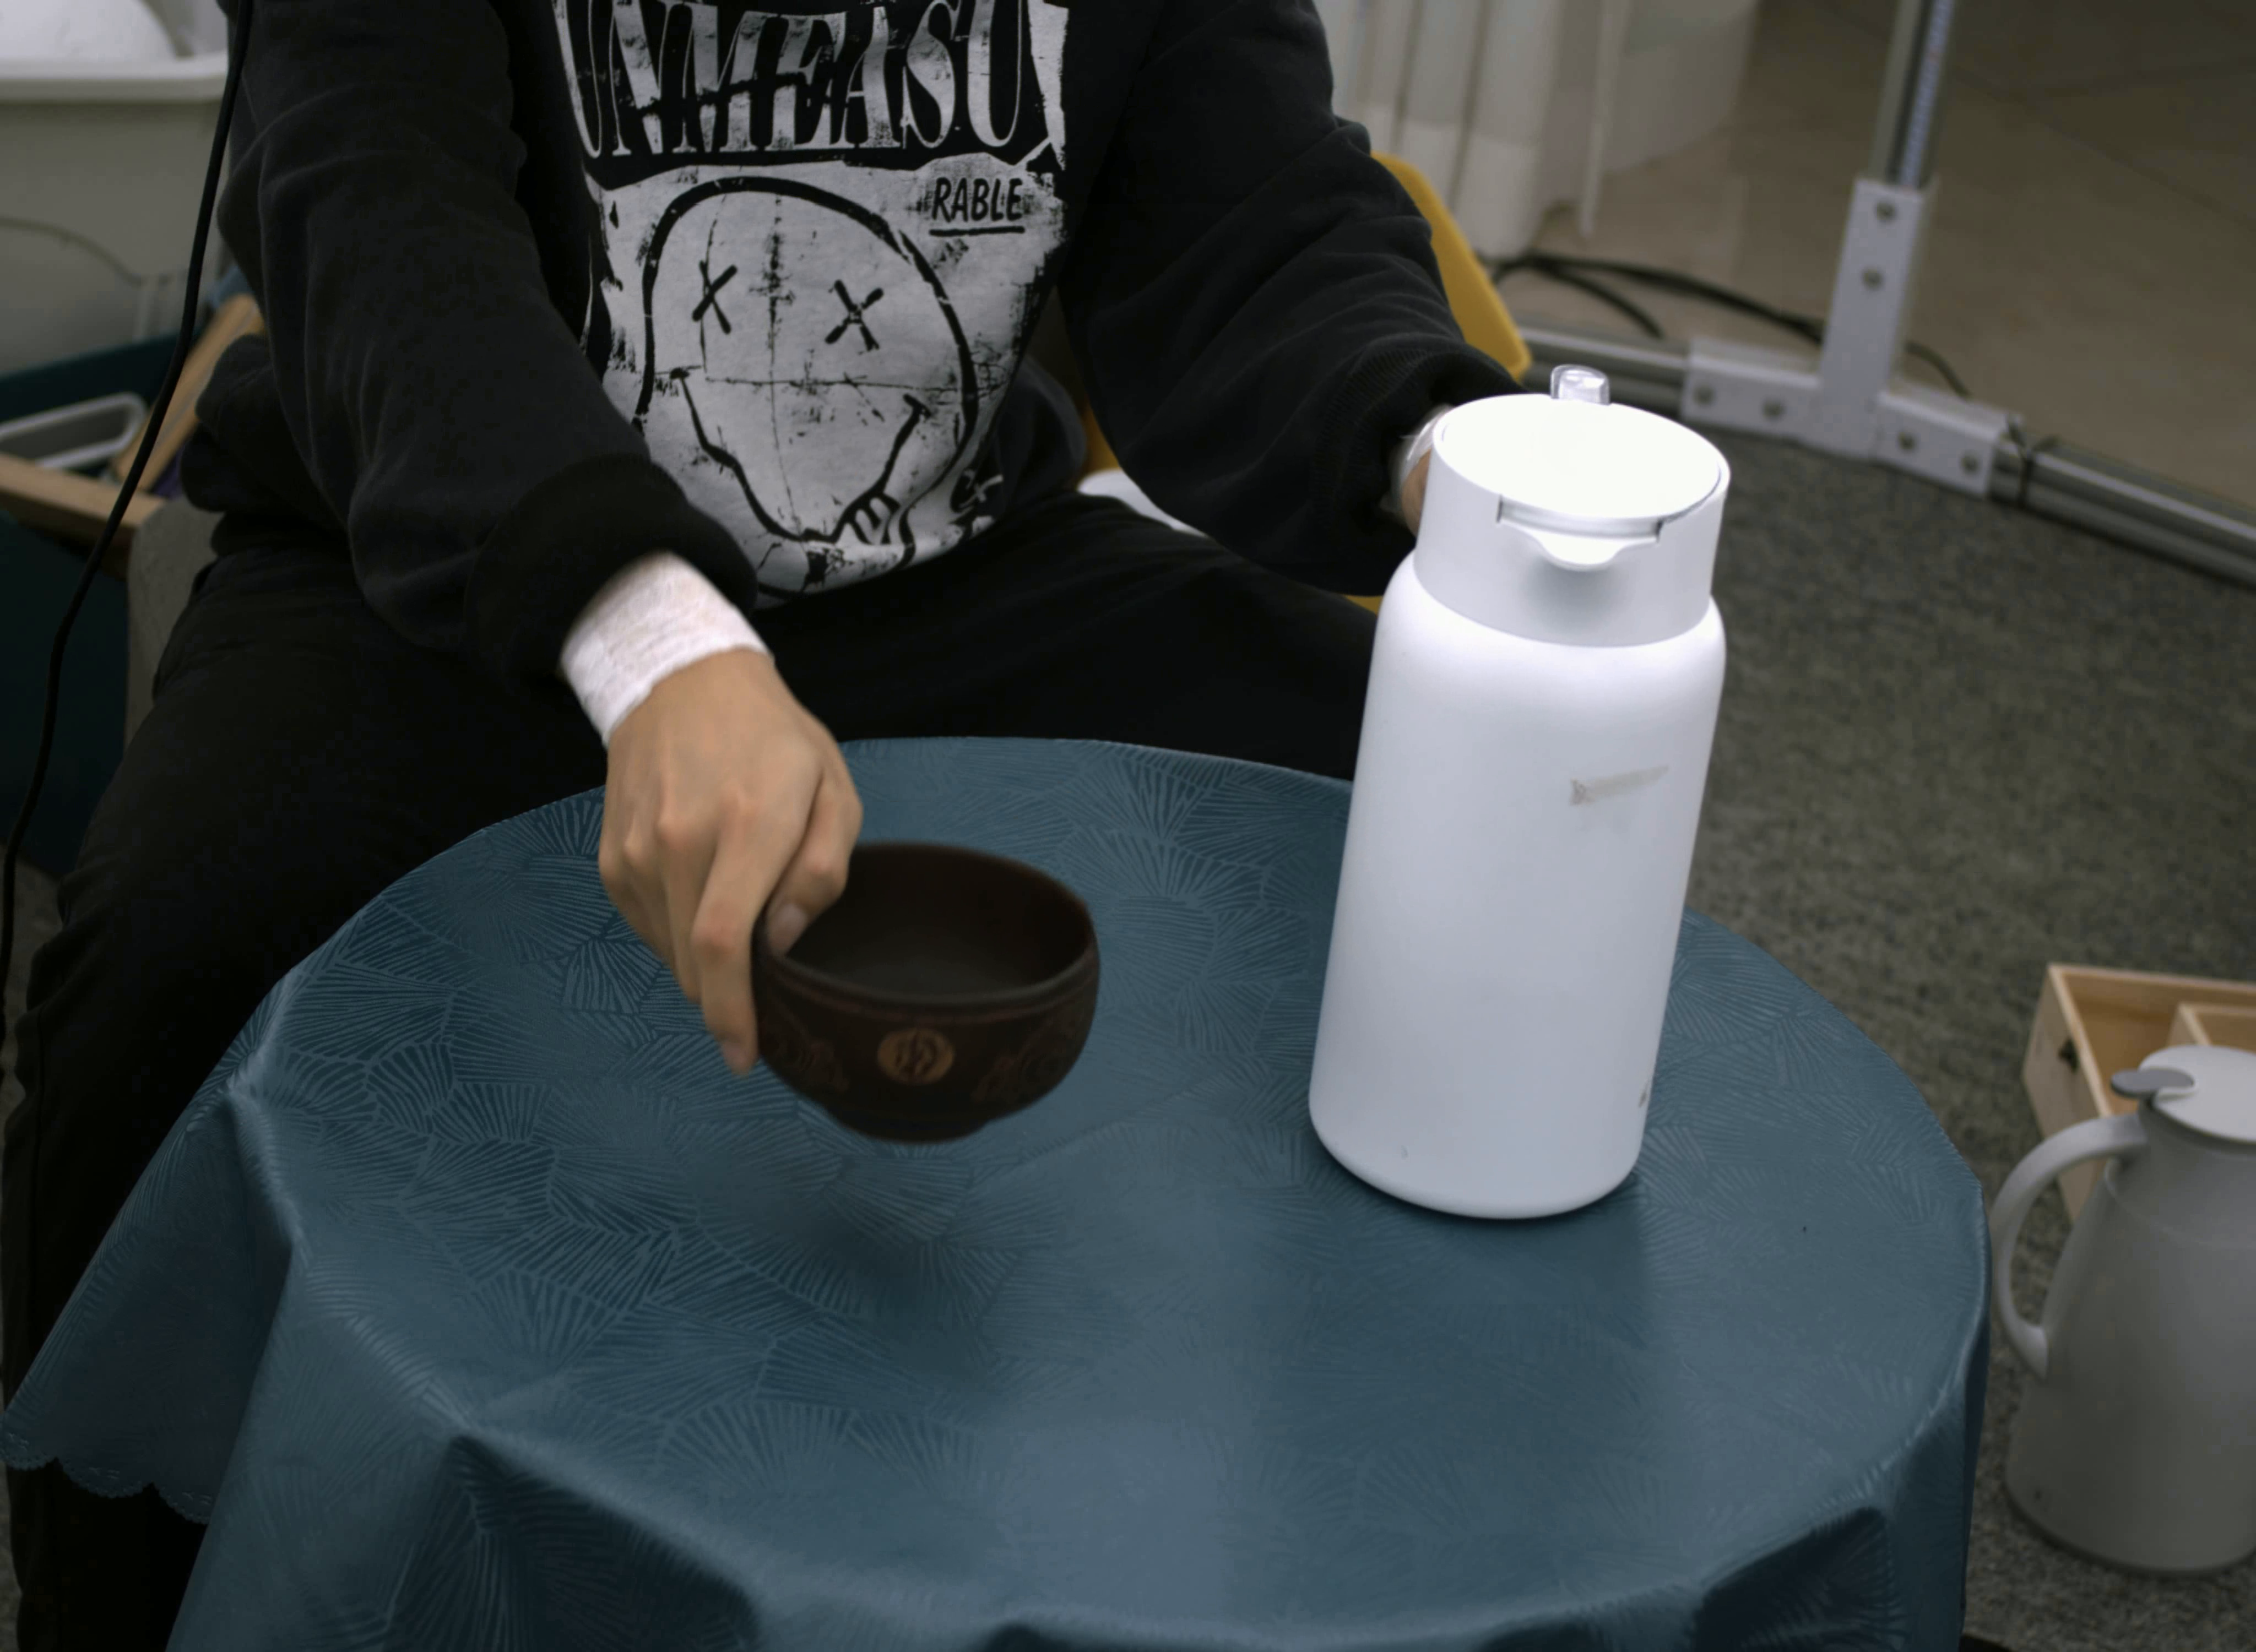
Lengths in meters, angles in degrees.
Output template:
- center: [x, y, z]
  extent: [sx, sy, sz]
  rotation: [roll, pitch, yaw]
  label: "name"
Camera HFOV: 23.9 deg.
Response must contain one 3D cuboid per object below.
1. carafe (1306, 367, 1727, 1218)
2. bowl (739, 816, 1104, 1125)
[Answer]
- center: [0.133, -0.015, 1.814]
  extent: [0.123, 0.268, 0.174]
  rotation: [5, 27, 0]
  label: "carafe"
- center: [-0.069, 0.054, 1.726]
  extent: [0.117, 0.069, 0.119]
  rotation: [5, 27, -3]
  label: "bowl"
